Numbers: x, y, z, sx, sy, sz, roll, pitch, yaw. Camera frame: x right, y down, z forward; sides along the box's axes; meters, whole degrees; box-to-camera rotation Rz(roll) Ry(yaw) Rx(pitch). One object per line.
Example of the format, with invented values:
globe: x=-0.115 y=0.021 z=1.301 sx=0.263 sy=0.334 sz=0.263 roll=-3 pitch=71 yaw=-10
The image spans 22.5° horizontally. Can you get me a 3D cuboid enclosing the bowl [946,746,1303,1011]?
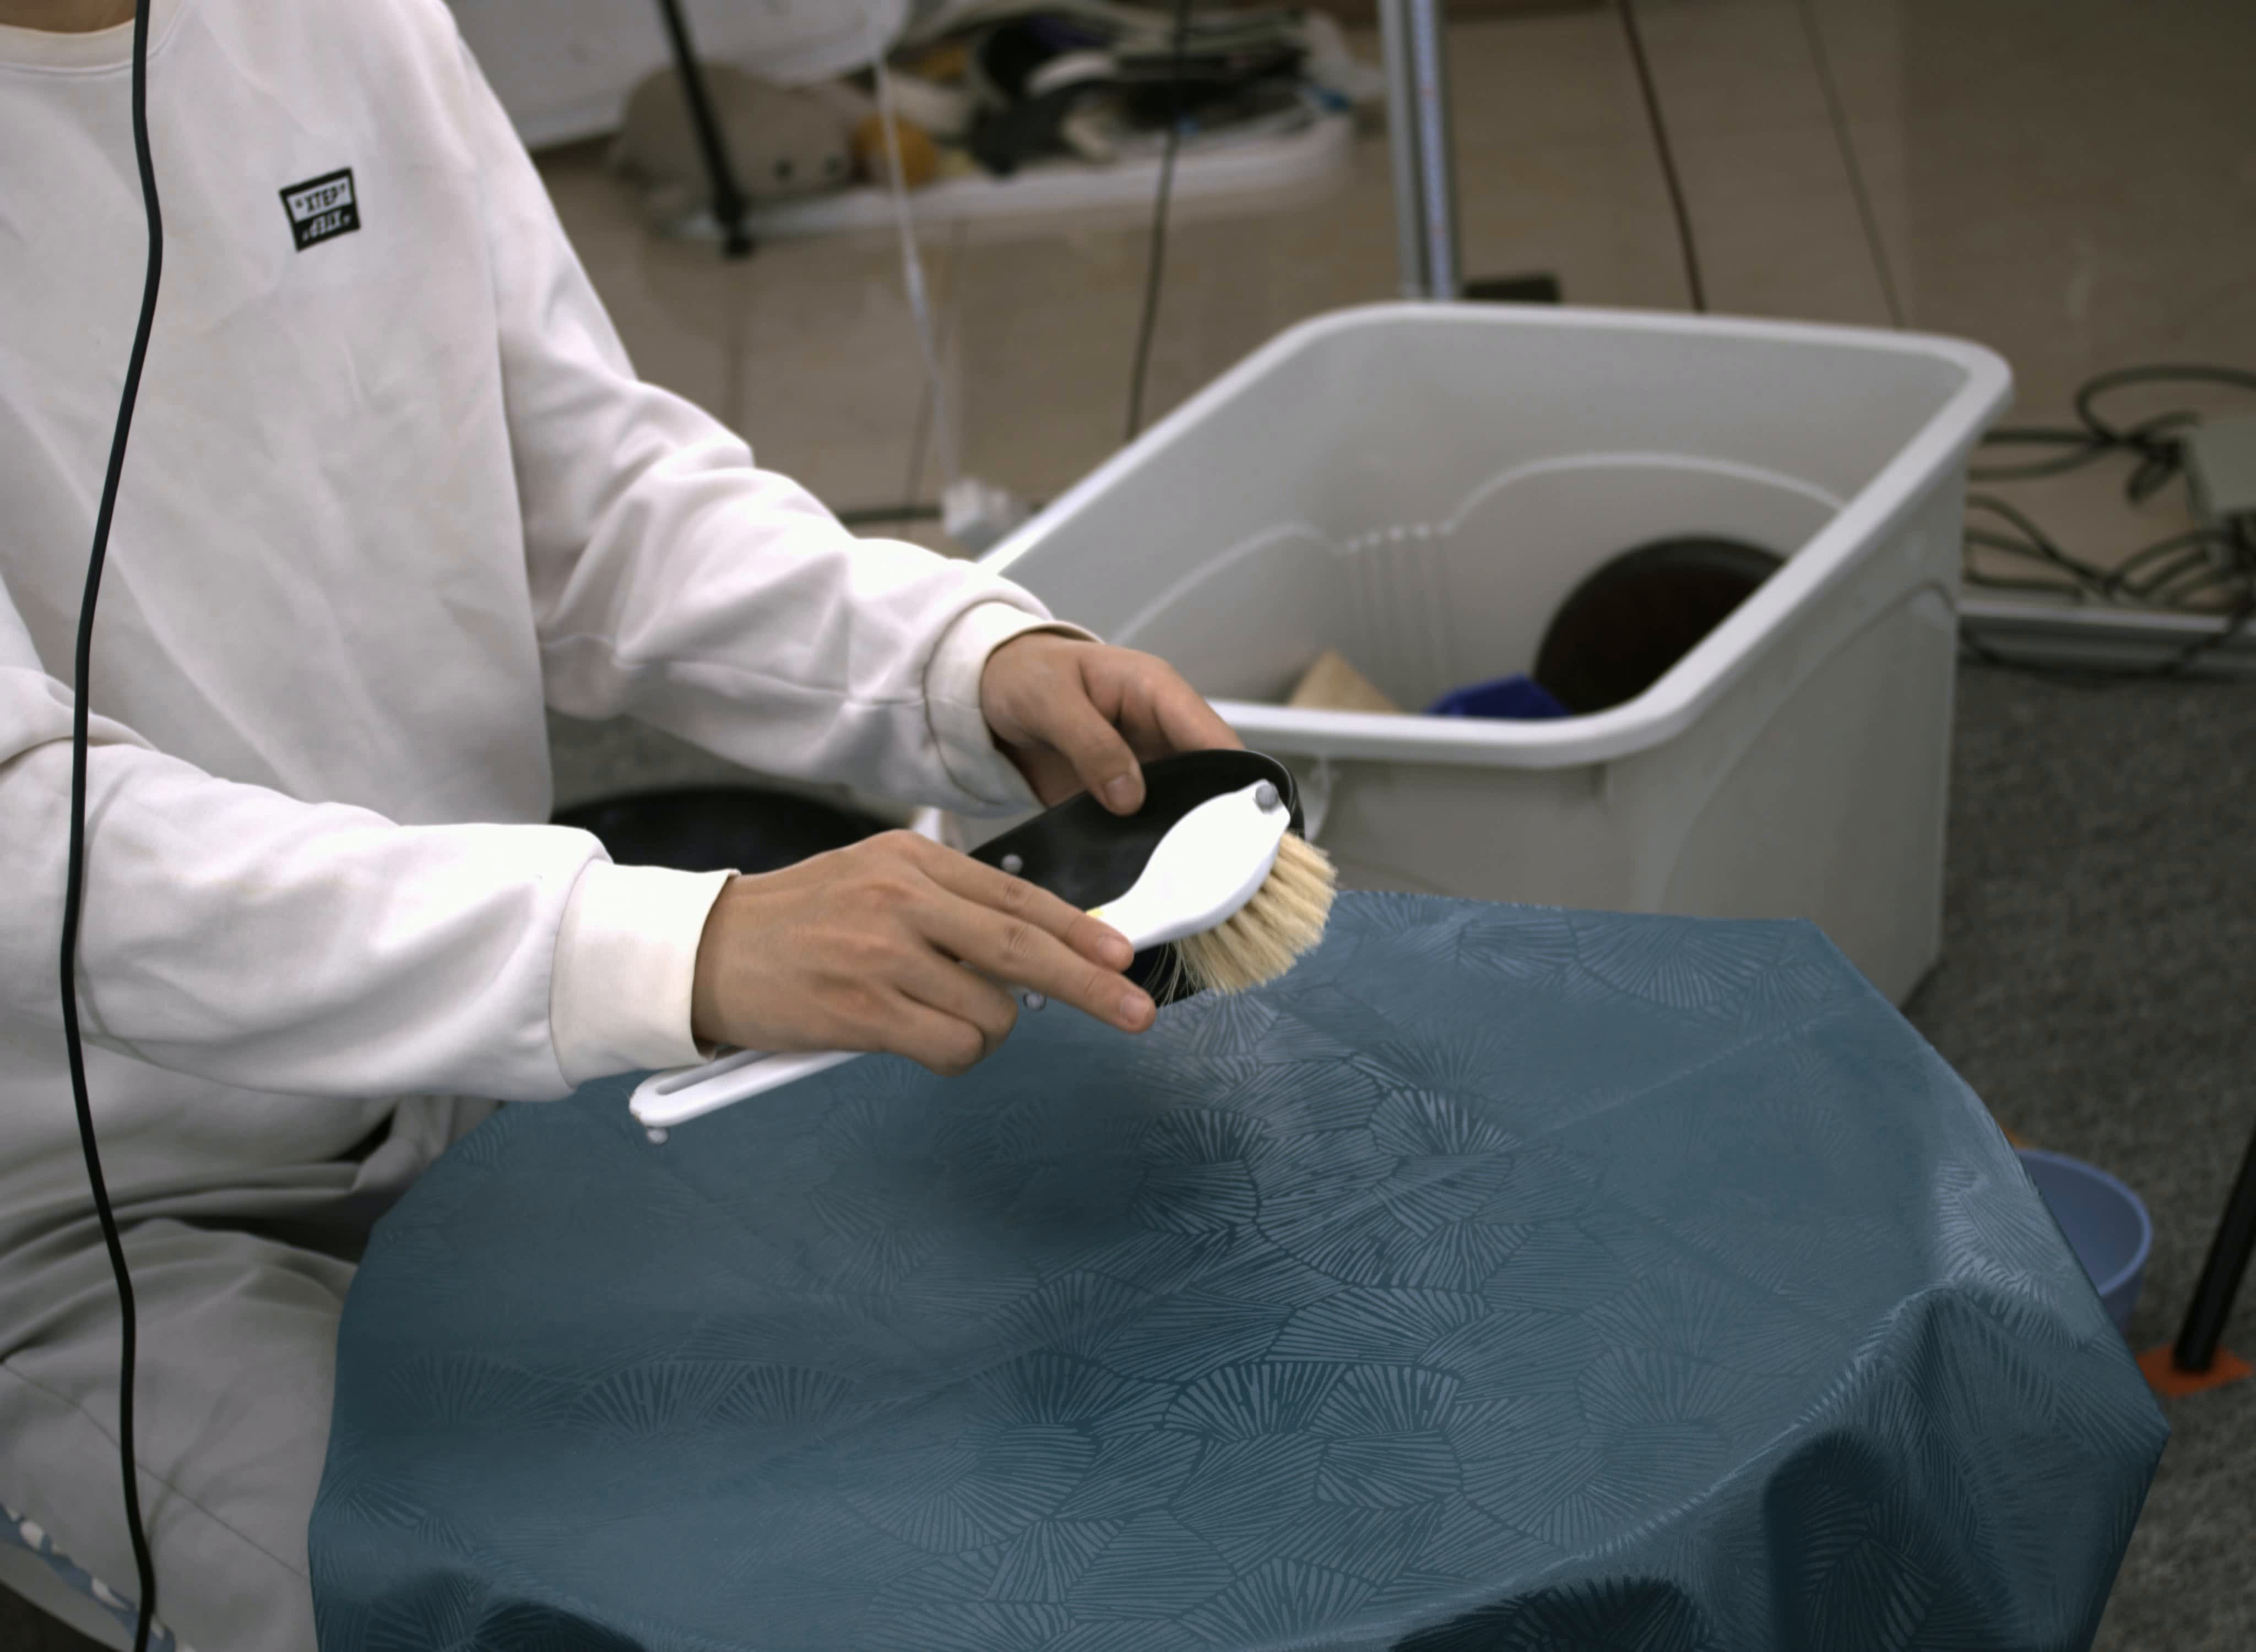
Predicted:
bowl: x=0.004 y=0.028 z=2.172 sx=0.136 sy=0.067 sz=0.169 roll=-29 pitch=20 yaw=-19

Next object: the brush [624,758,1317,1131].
brush: x=-0.053 y=0.060 z=2.035 sx=0.266 sy=0.057 sz=0.068 roll=-29 pitch=25 yaw=-6
